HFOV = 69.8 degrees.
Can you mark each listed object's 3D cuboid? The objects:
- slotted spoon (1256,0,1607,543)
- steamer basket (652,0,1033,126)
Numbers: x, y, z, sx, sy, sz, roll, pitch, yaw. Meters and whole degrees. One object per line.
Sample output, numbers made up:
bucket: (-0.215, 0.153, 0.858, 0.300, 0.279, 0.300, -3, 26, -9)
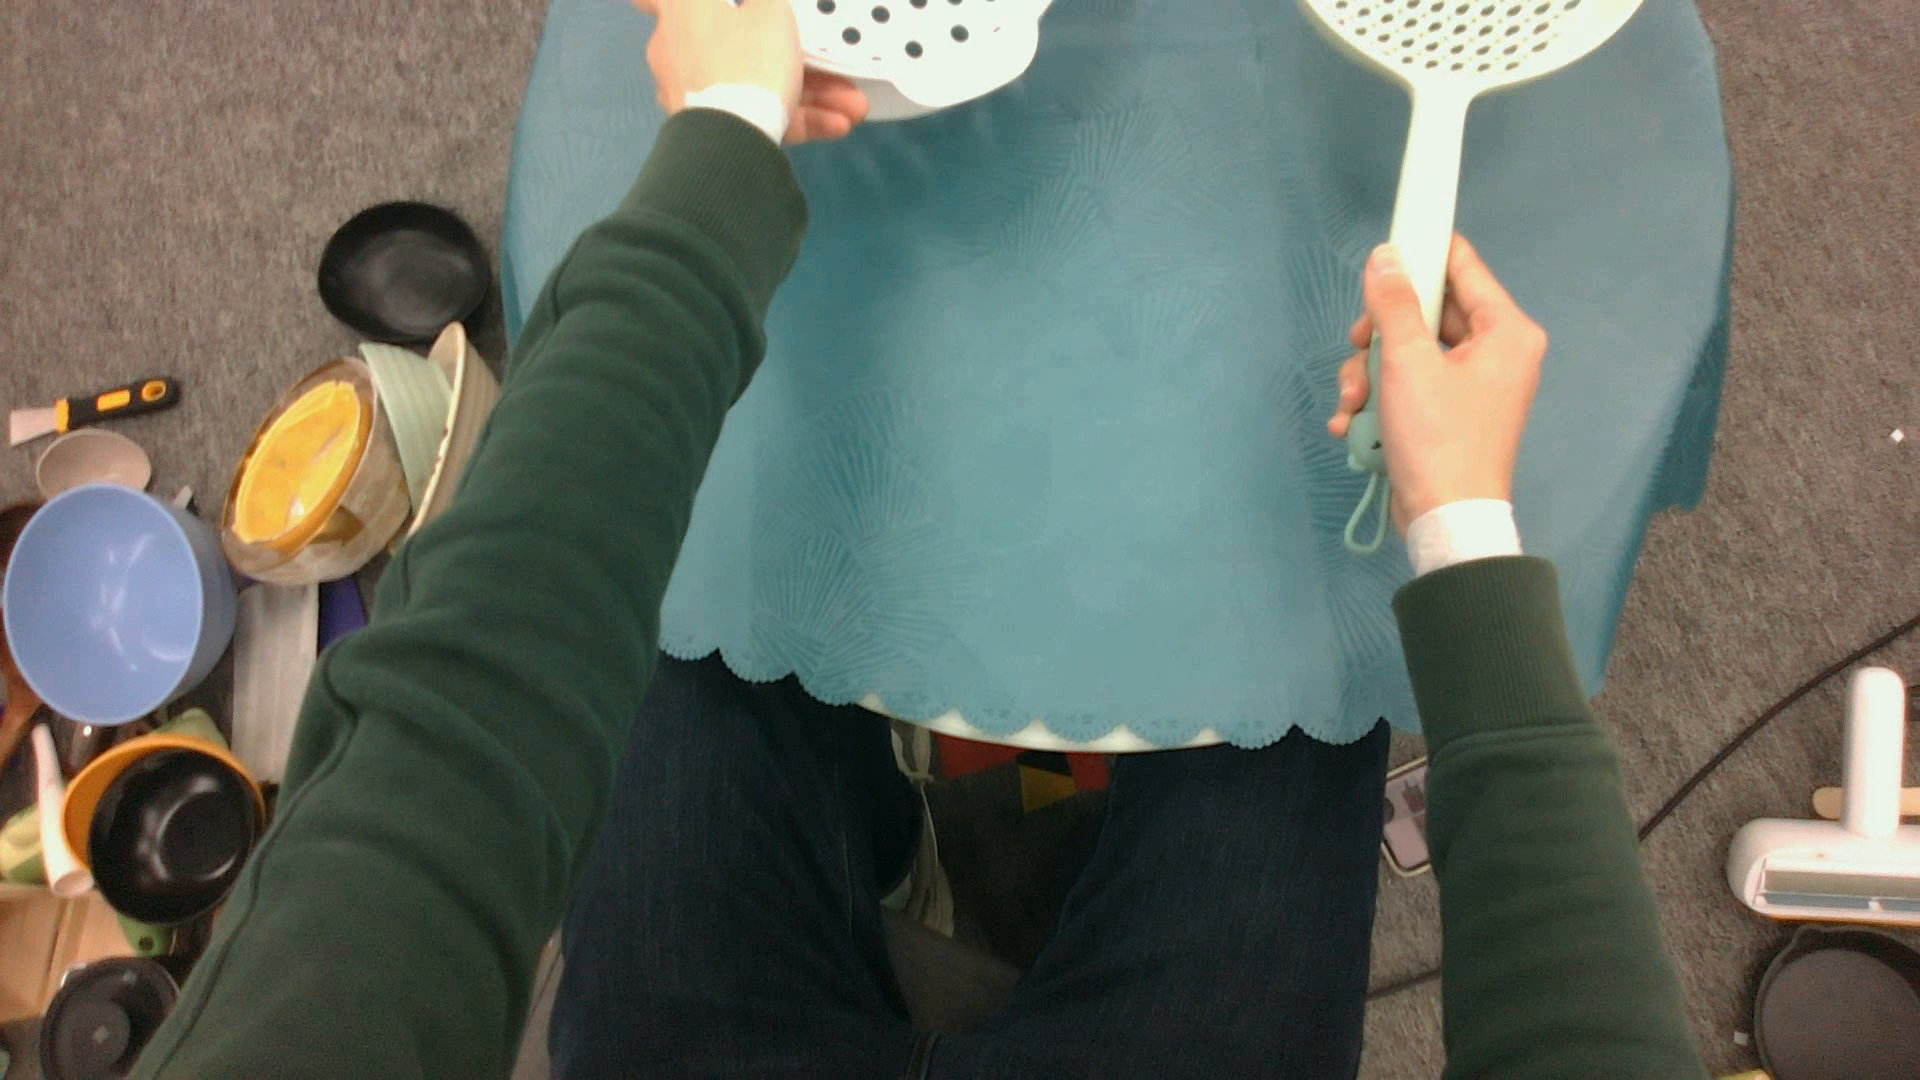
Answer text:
slotted spoon: (0.189, -0.177, 0.594, 0.169, 0.075, 0.360, 9, 70, 4)
steamer basket: (-0.056, -0.297, 0.651, 0.202, 0.069, 0.230, -26, 87, -12)
